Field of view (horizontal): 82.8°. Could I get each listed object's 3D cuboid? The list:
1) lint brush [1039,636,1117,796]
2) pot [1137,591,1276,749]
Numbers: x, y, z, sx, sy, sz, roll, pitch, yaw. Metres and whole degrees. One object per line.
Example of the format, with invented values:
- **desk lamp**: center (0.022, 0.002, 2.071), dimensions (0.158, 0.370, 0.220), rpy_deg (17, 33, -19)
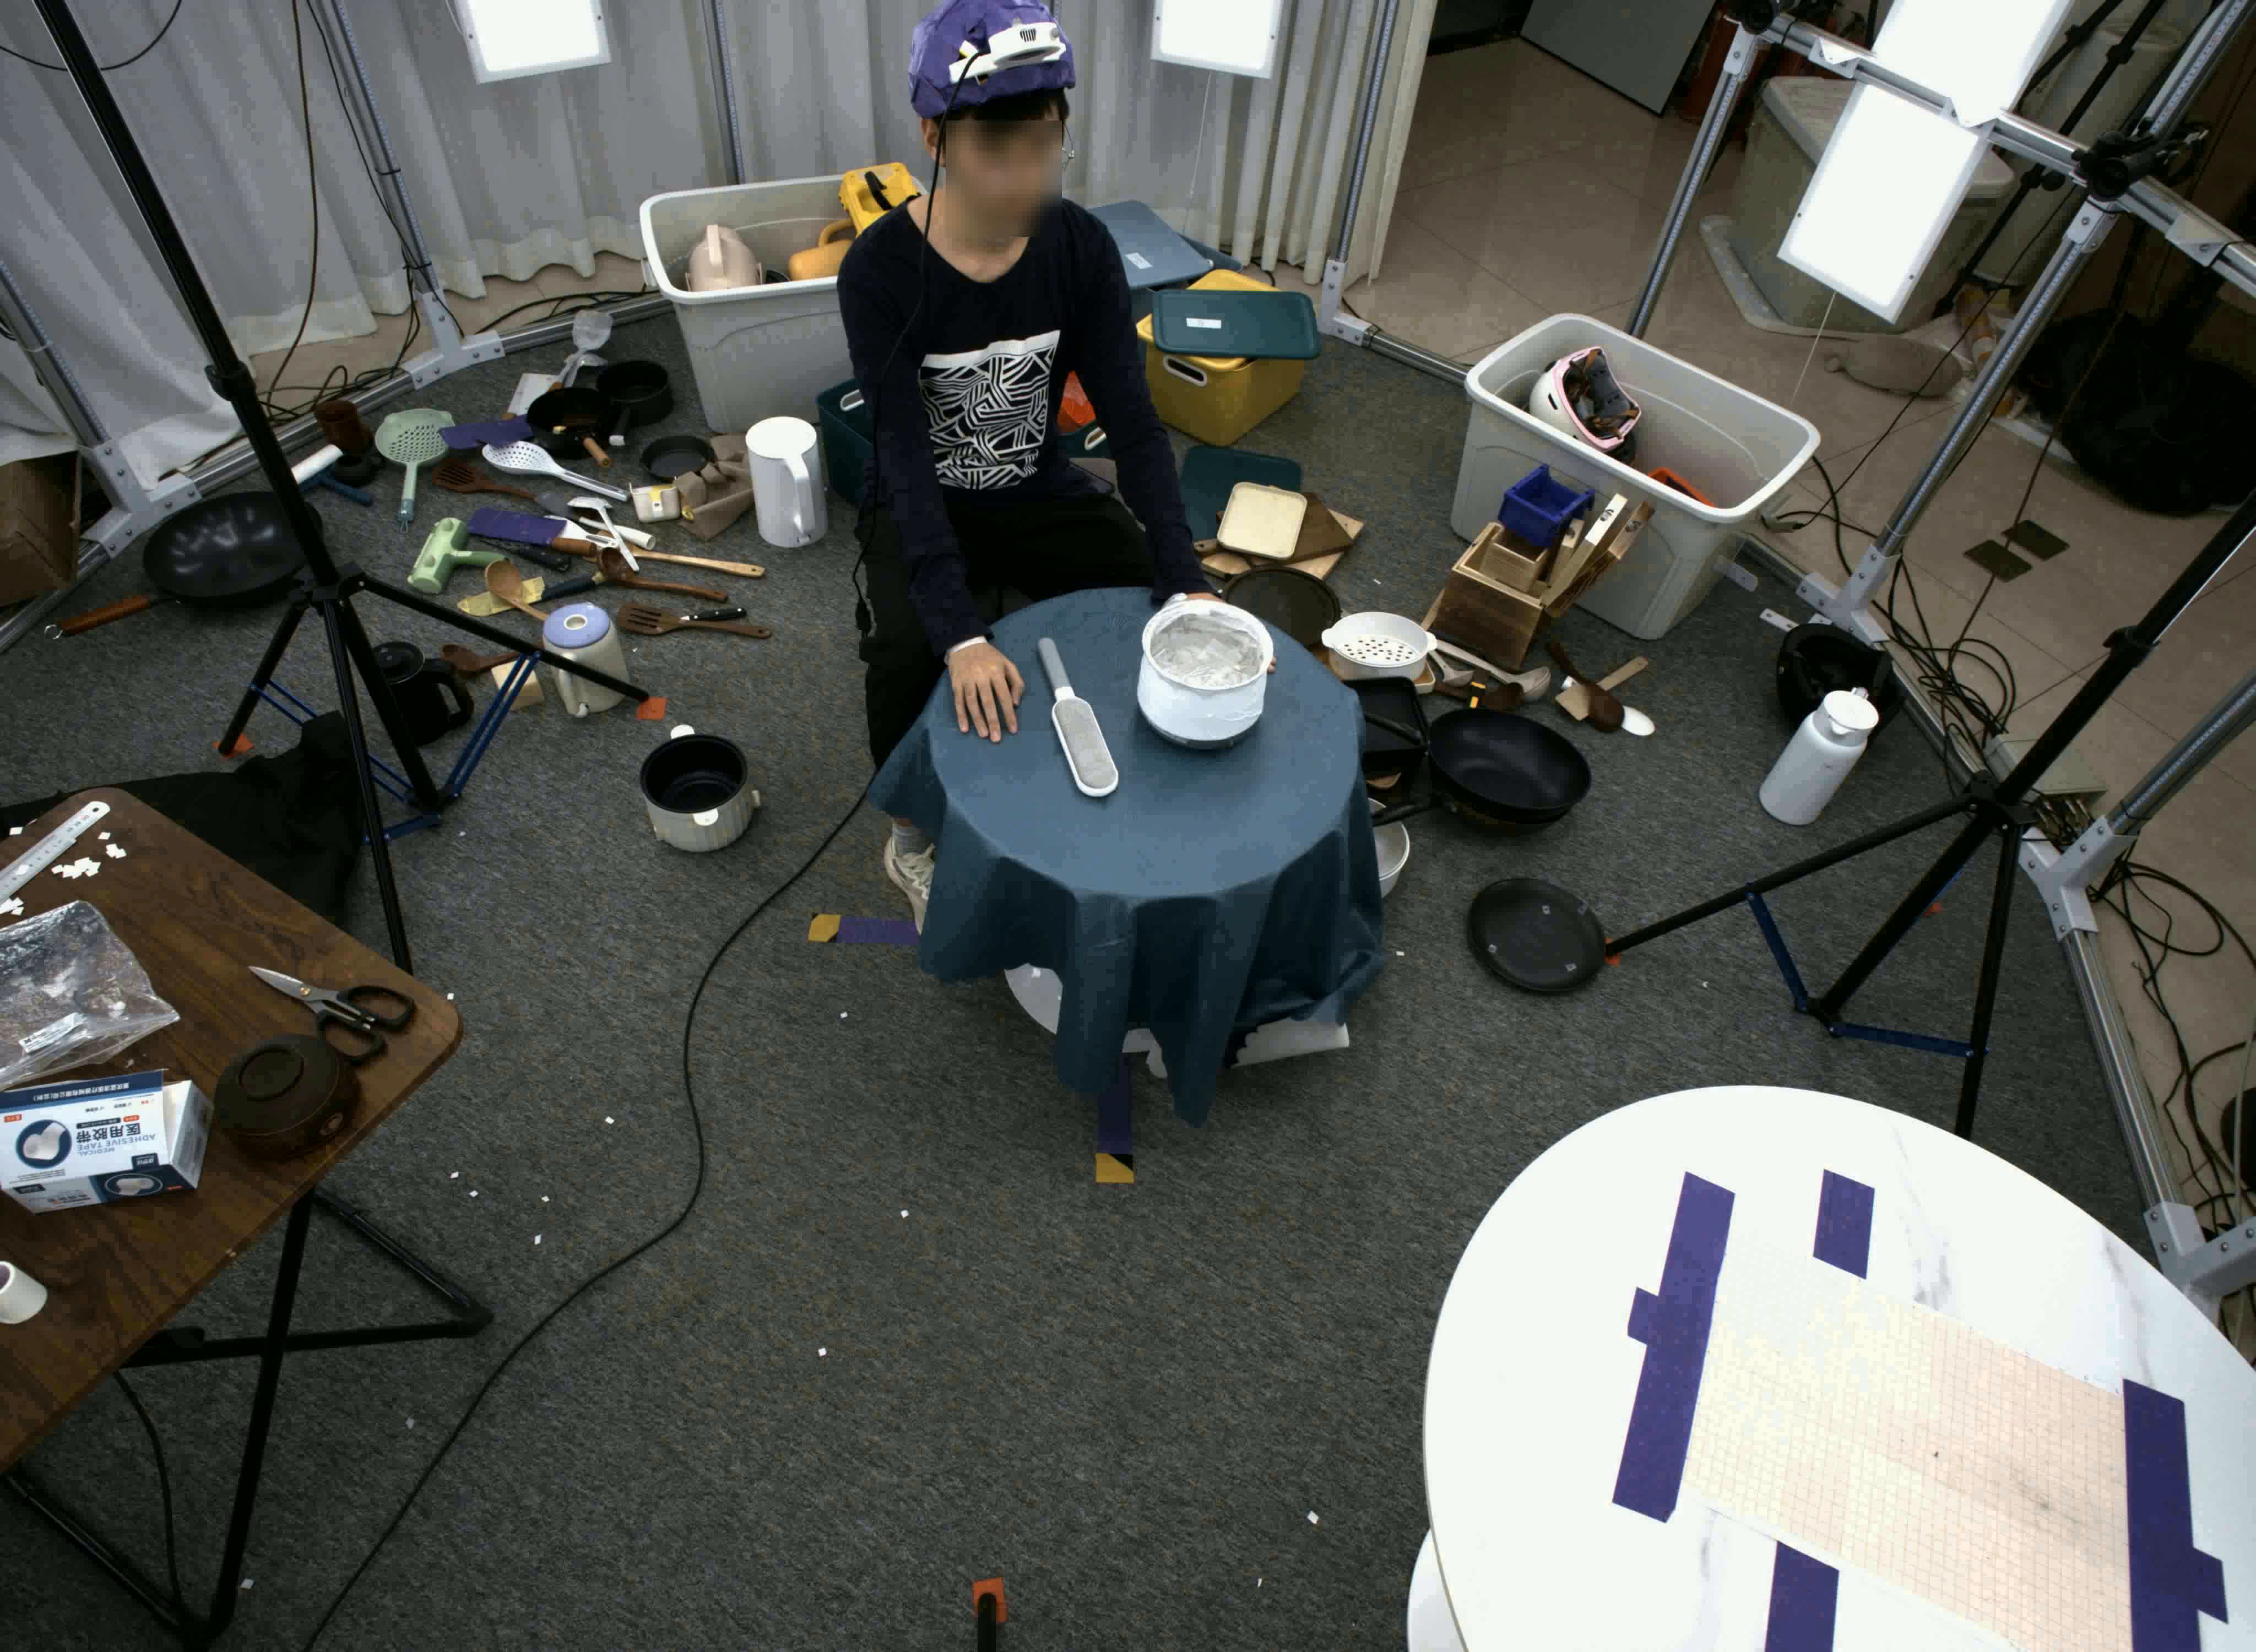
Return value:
- **lint brush**: center (-0.076, -0.159, 1.782), dimensions (0.060, 0.020, 0.316), rpy_deg (-14, 51, -8)
- **pot**: center (0.094, -0.226, 1.778), dimensions (0.179, 0.133, 0.239), rpy_deg (-12, 52, -17)
